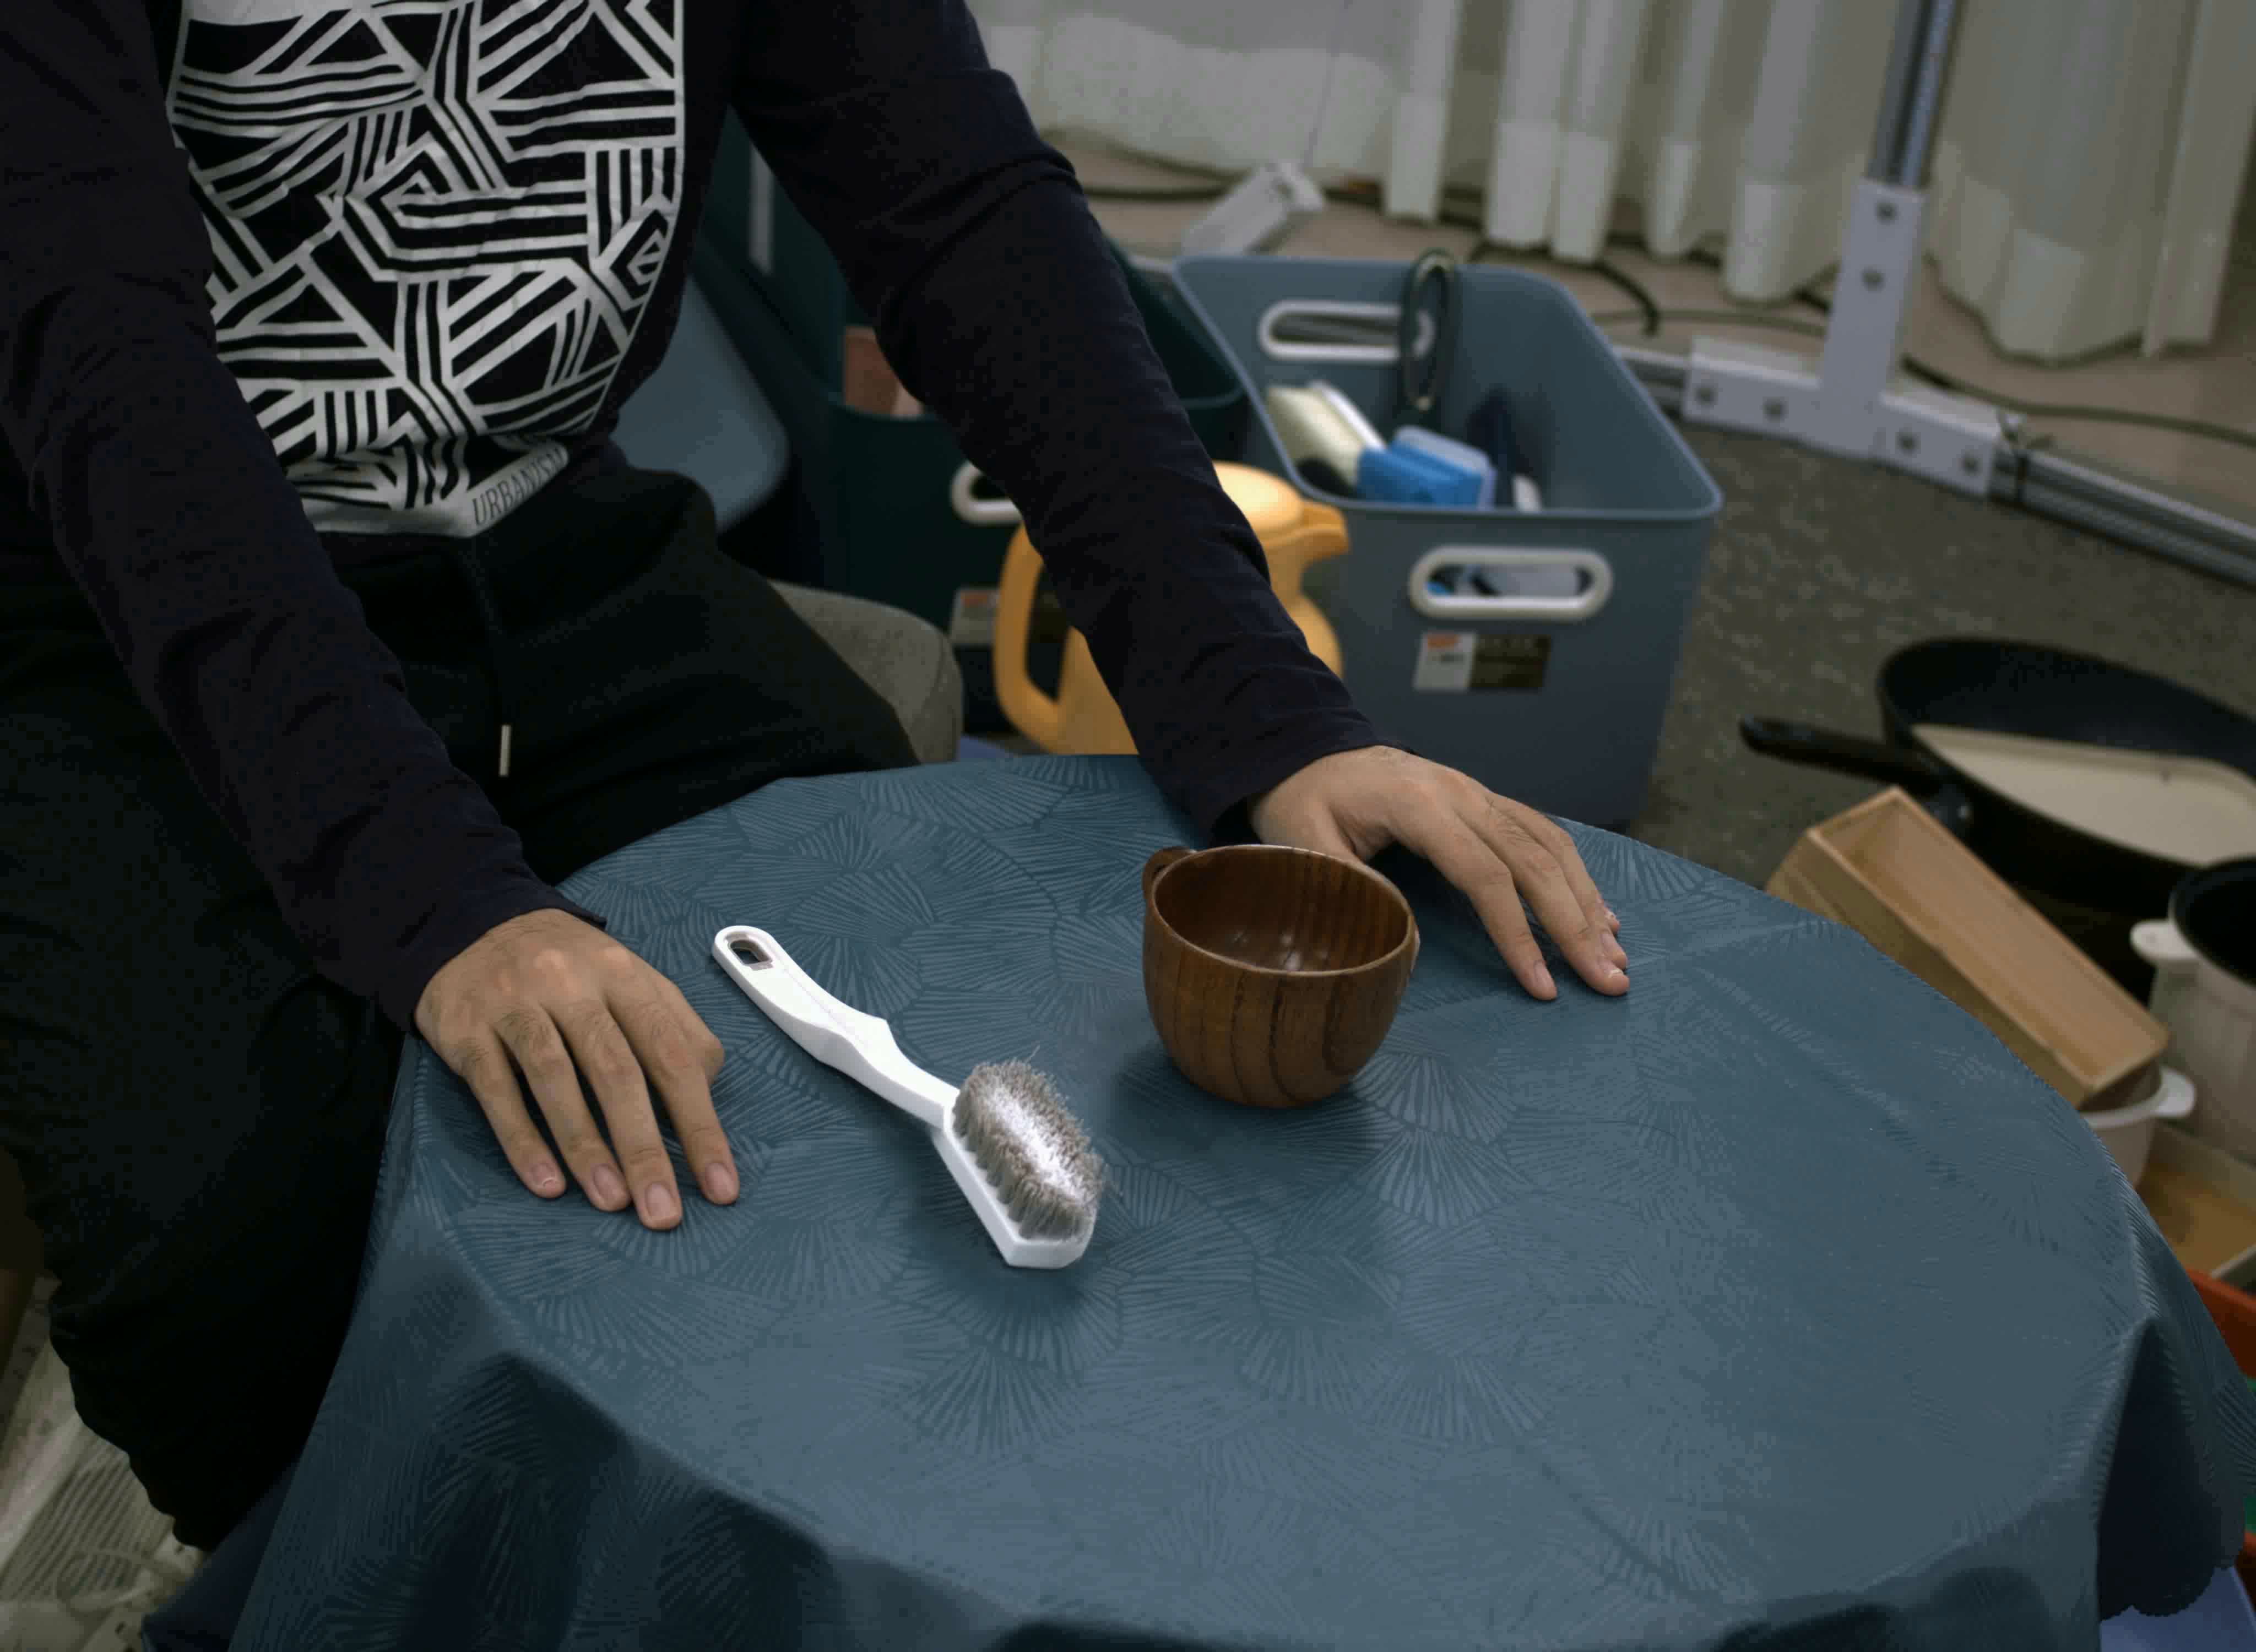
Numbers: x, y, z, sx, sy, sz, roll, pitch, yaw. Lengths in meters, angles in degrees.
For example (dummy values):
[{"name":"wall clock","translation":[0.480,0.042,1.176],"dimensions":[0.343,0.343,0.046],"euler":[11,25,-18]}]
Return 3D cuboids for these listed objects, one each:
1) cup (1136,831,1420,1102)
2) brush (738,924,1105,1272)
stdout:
[{"name":"cup","translation":[0.044,0.048,1.887],"dimensions":[0.095,0.067,0.120],"euler":[-17,37,-36]},{"name":"brush","translation":[-0.076,0.076,1.831],"dimensions":[0.034,0.050,0.246],"euler":[-12,32,-25]}]
